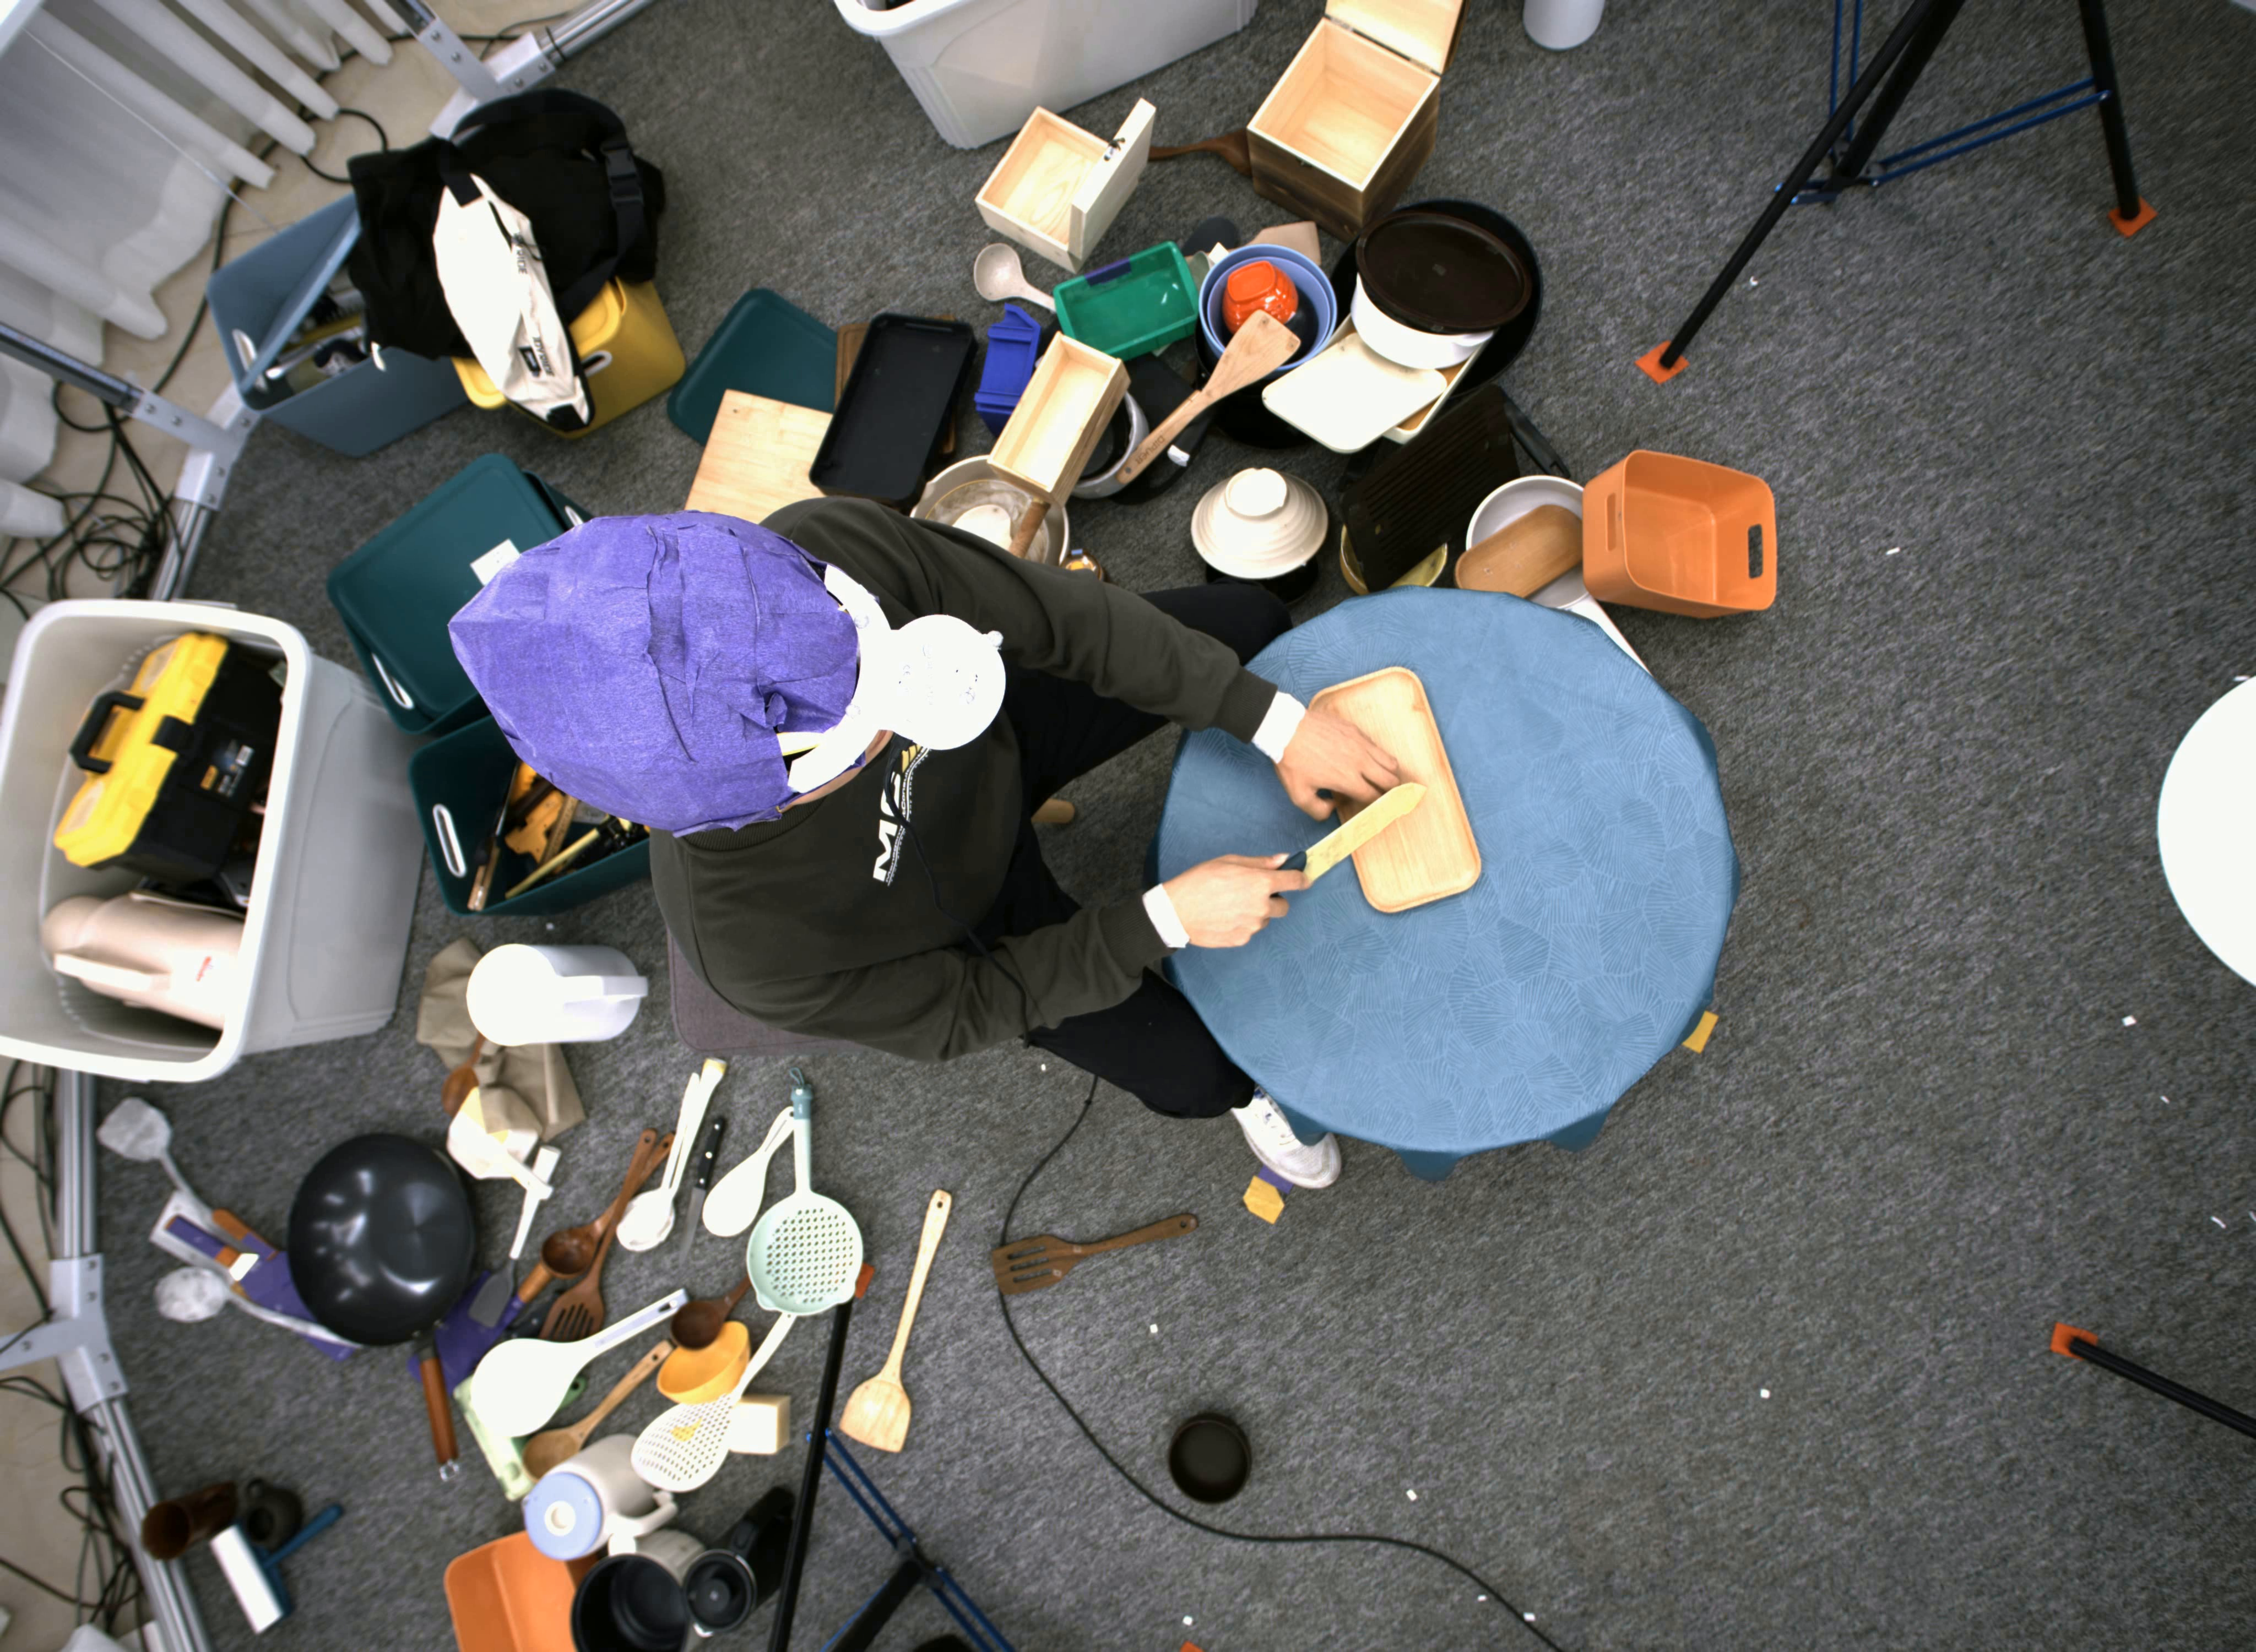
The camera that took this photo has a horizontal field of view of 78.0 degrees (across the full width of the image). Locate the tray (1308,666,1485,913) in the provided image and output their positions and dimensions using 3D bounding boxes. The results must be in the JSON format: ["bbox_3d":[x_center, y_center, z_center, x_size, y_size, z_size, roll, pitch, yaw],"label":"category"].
[{"bbox_3d":[0.284,-0.040,1.460,0.131,0.023,0.250,-18,87,12],"label":"tray"}]

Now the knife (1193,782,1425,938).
[{"bbox_3d":[0.189,0.034,1.411,0.288,0.082,0.027,-32,60,-8],"label":"knife"}]
